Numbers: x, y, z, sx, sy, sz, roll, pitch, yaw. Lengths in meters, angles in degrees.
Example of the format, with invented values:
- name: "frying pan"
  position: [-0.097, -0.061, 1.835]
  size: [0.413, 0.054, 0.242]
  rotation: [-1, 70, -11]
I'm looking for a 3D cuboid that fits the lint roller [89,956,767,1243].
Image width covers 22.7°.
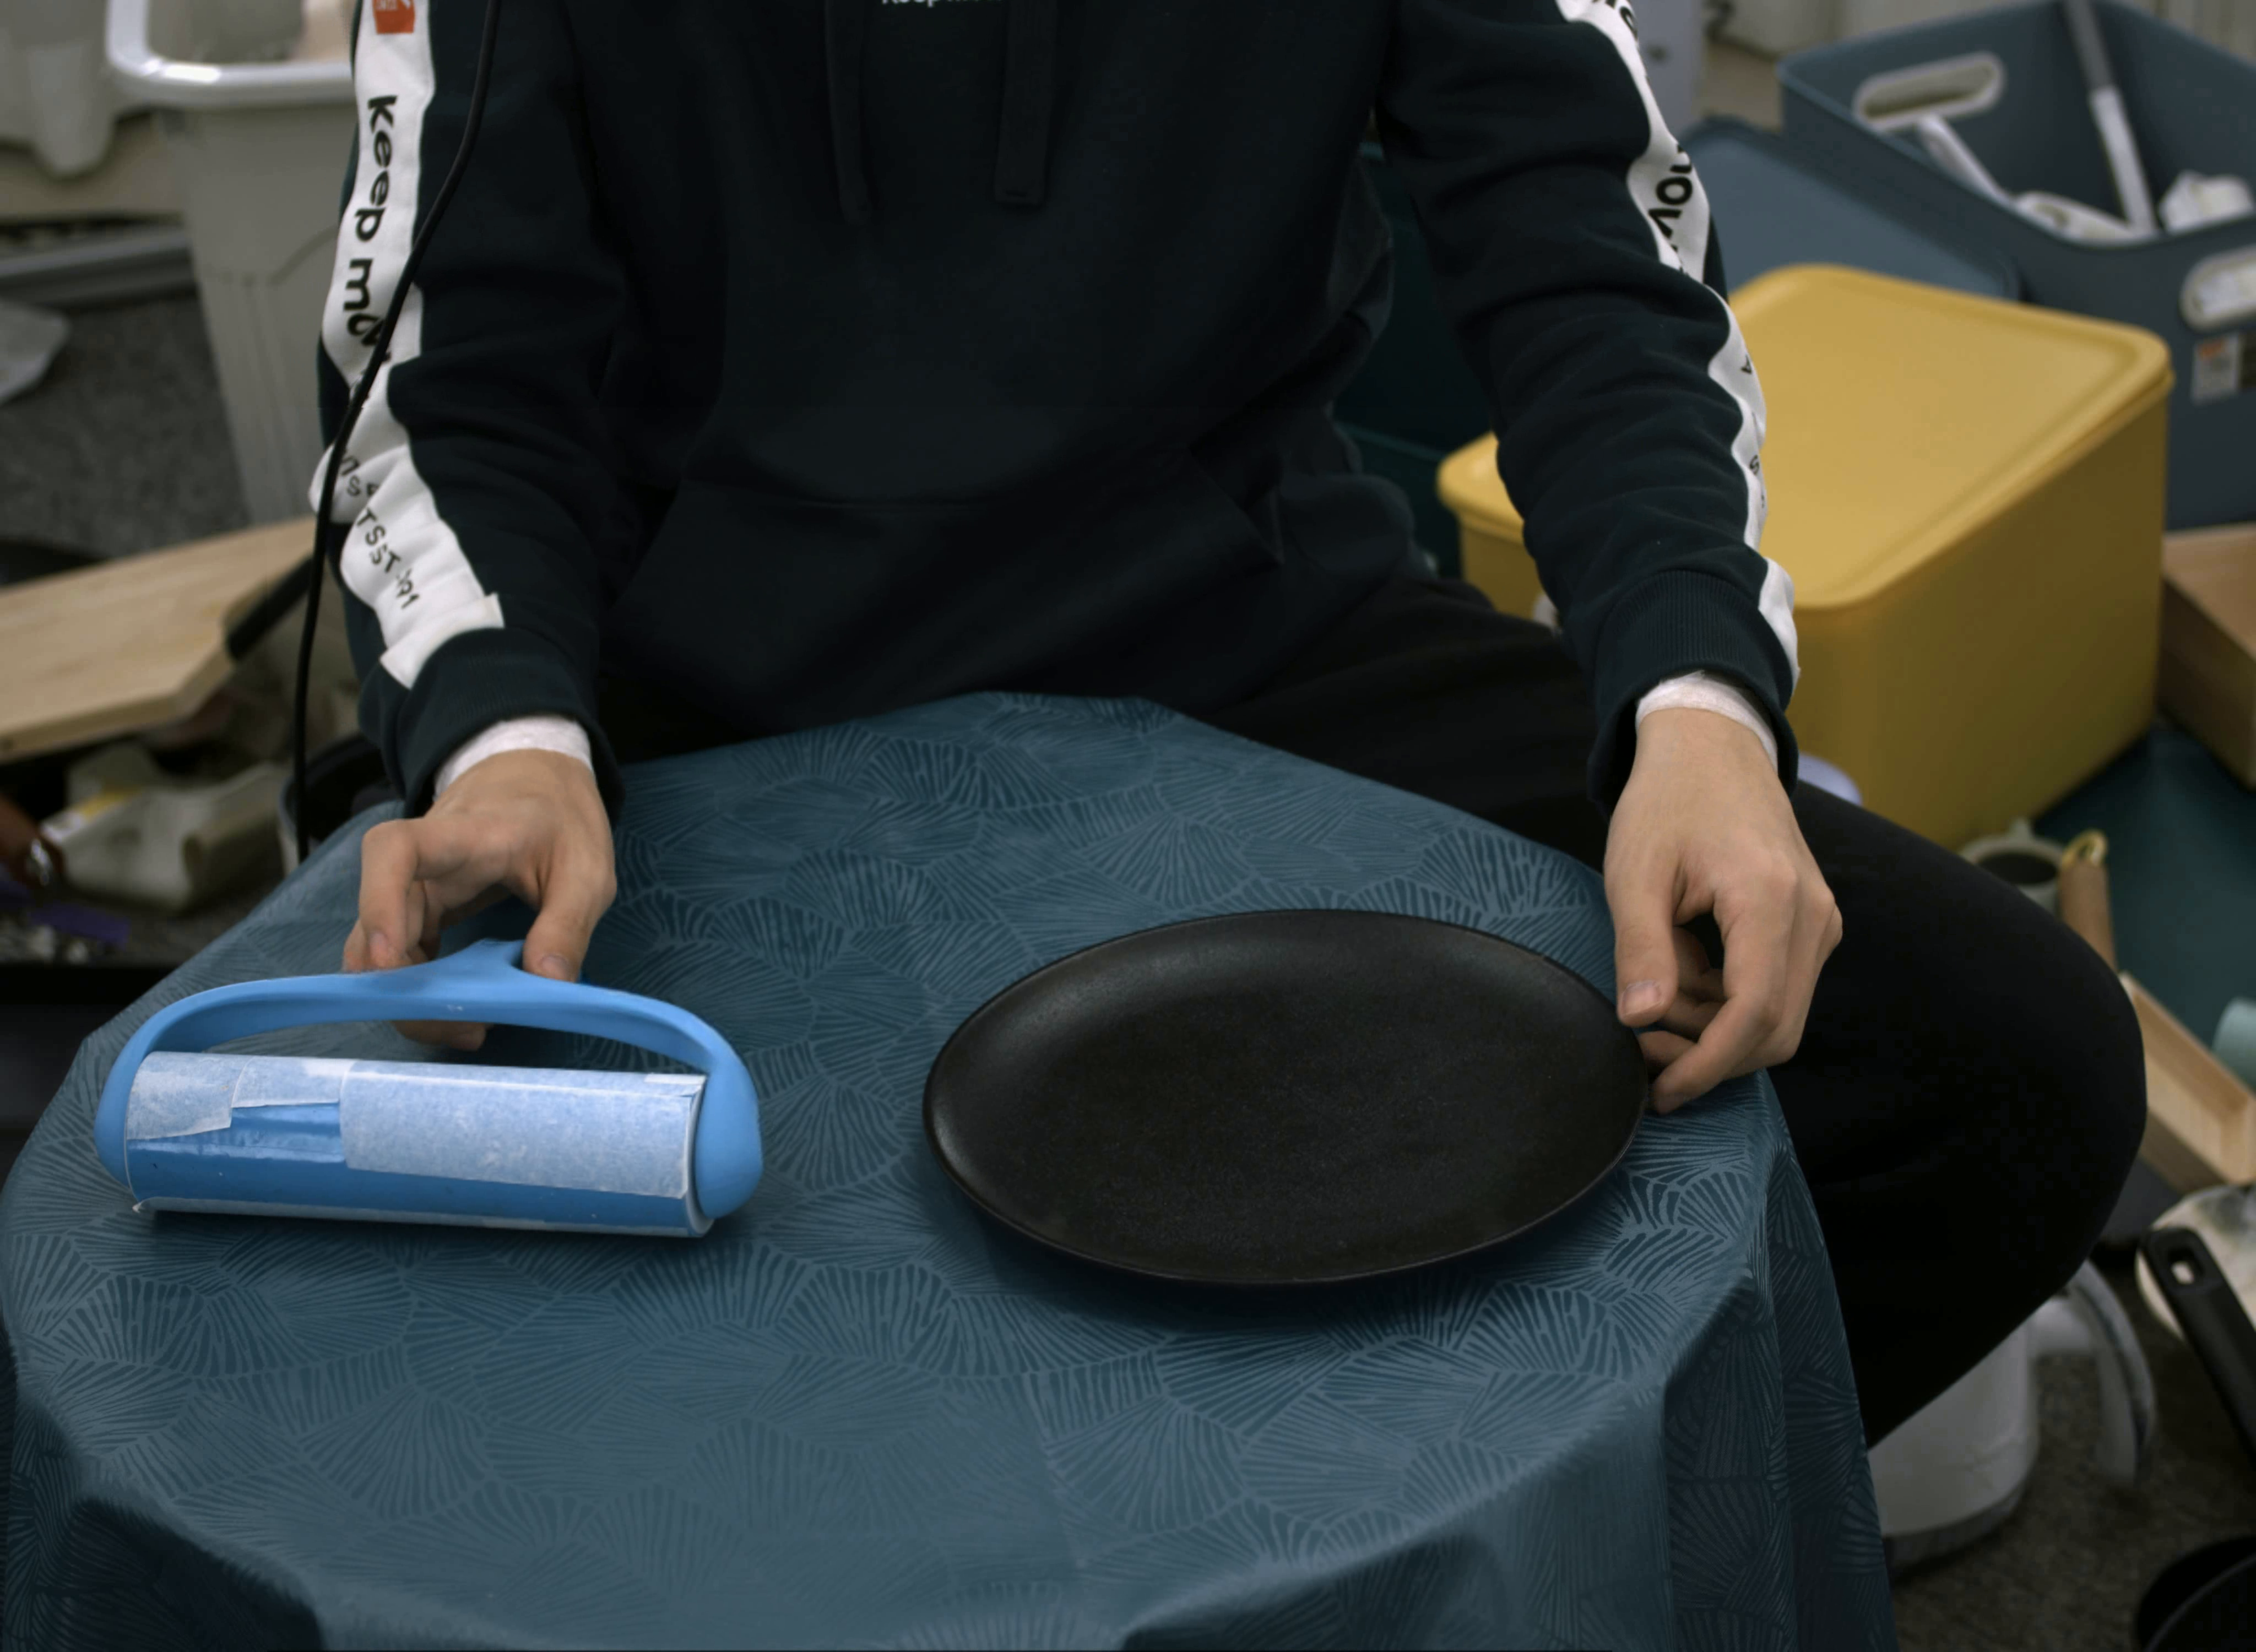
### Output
- name: "lint roller"
  position: [-0.225, 0.079, 1.905]
  size: [0.227, 0.067, 0.183]
  rotation: [-1, 27, 7]

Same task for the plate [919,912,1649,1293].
- name: "plate"
  position: [0.052, 0.097, 1.878]
  size: [0.243, 0.023, 0.248]
  rotation: [-2, 28, 1]
